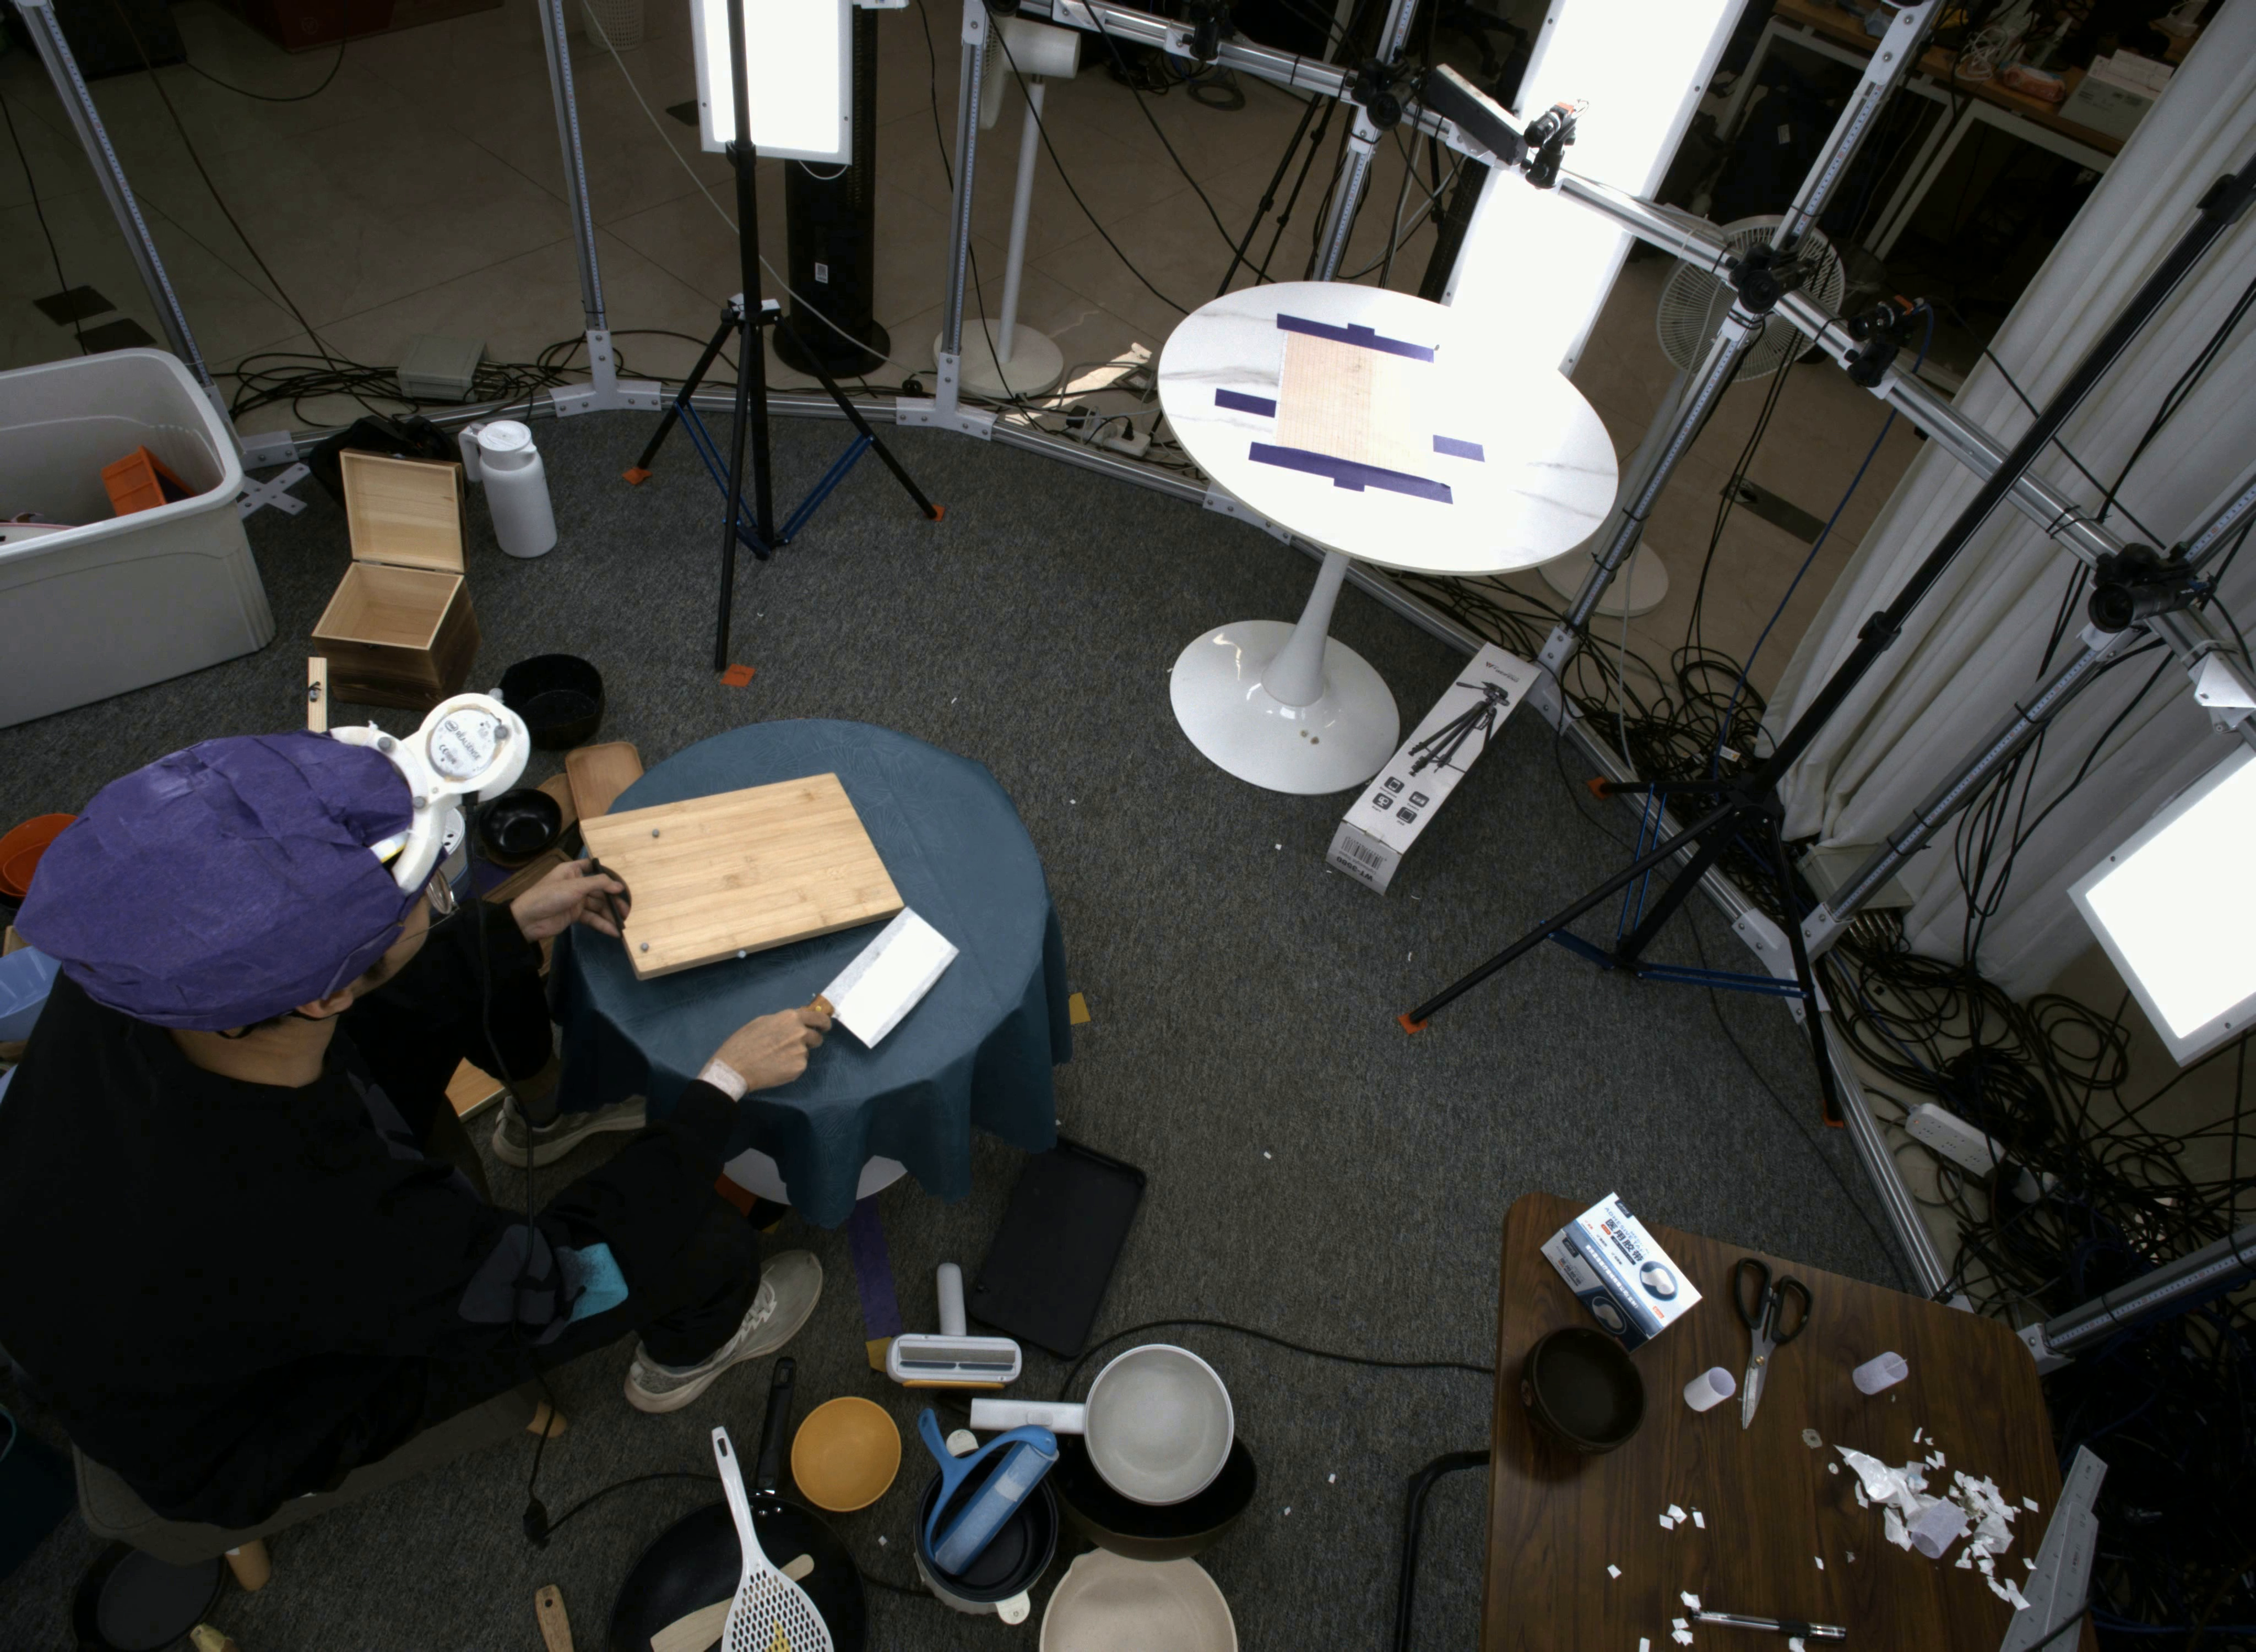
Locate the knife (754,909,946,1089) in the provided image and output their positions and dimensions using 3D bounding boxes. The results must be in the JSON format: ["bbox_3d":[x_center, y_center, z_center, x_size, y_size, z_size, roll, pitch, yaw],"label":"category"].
[{"bbox_3d":[-0.318,0.211,1.542,0.093,0.021,0.304,42,45,-3],"label":"knife"}]

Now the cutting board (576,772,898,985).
[{"bbox_3d":[-0.487,0.053,1.611,0.352,0.024,0.244,-15,58,-35],"label":"cutting board"}]
